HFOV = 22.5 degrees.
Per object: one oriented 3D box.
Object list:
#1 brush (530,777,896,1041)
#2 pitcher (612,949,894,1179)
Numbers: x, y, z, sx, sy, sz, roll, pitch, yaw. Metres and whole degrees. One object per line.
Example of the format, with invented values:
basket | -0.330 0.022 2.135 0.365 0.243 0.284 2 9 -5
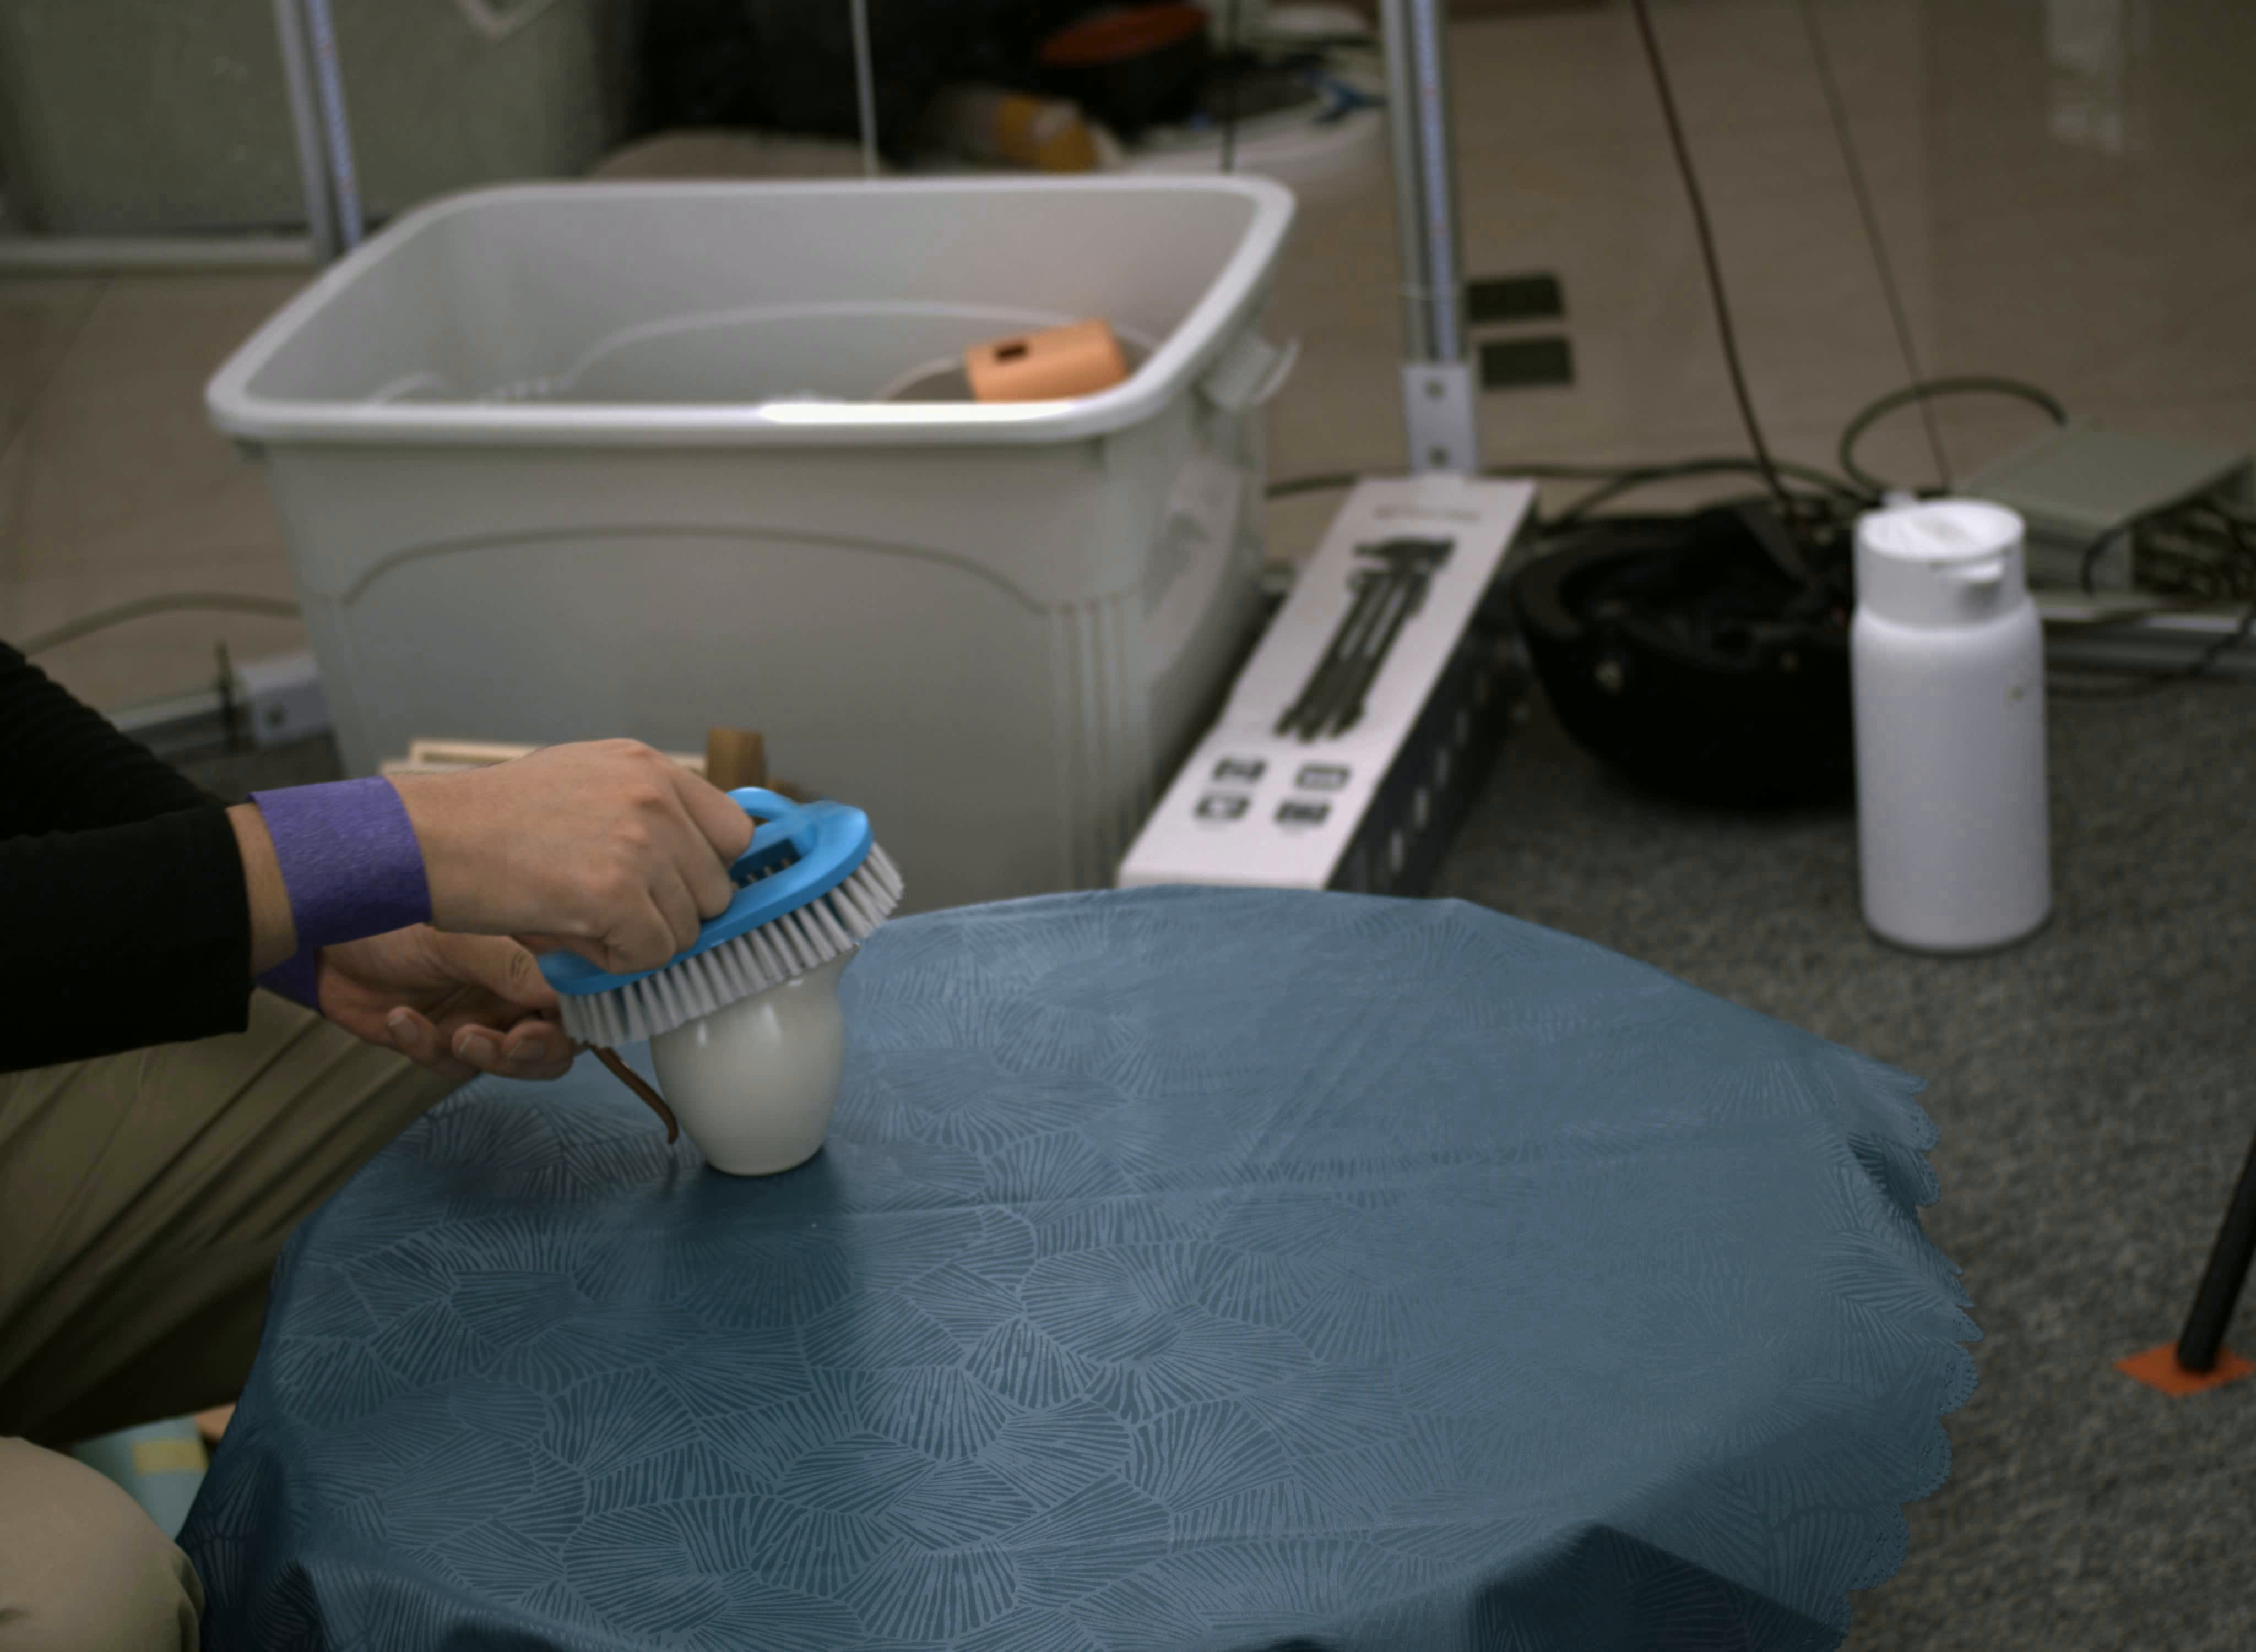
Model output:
brush | -0.162 0.022 2.144 0.142 0.065 0.083 -24 29 4
pitcher | -0.146 0.087 2.189 0.119 0.089 0.075 4 22 13
